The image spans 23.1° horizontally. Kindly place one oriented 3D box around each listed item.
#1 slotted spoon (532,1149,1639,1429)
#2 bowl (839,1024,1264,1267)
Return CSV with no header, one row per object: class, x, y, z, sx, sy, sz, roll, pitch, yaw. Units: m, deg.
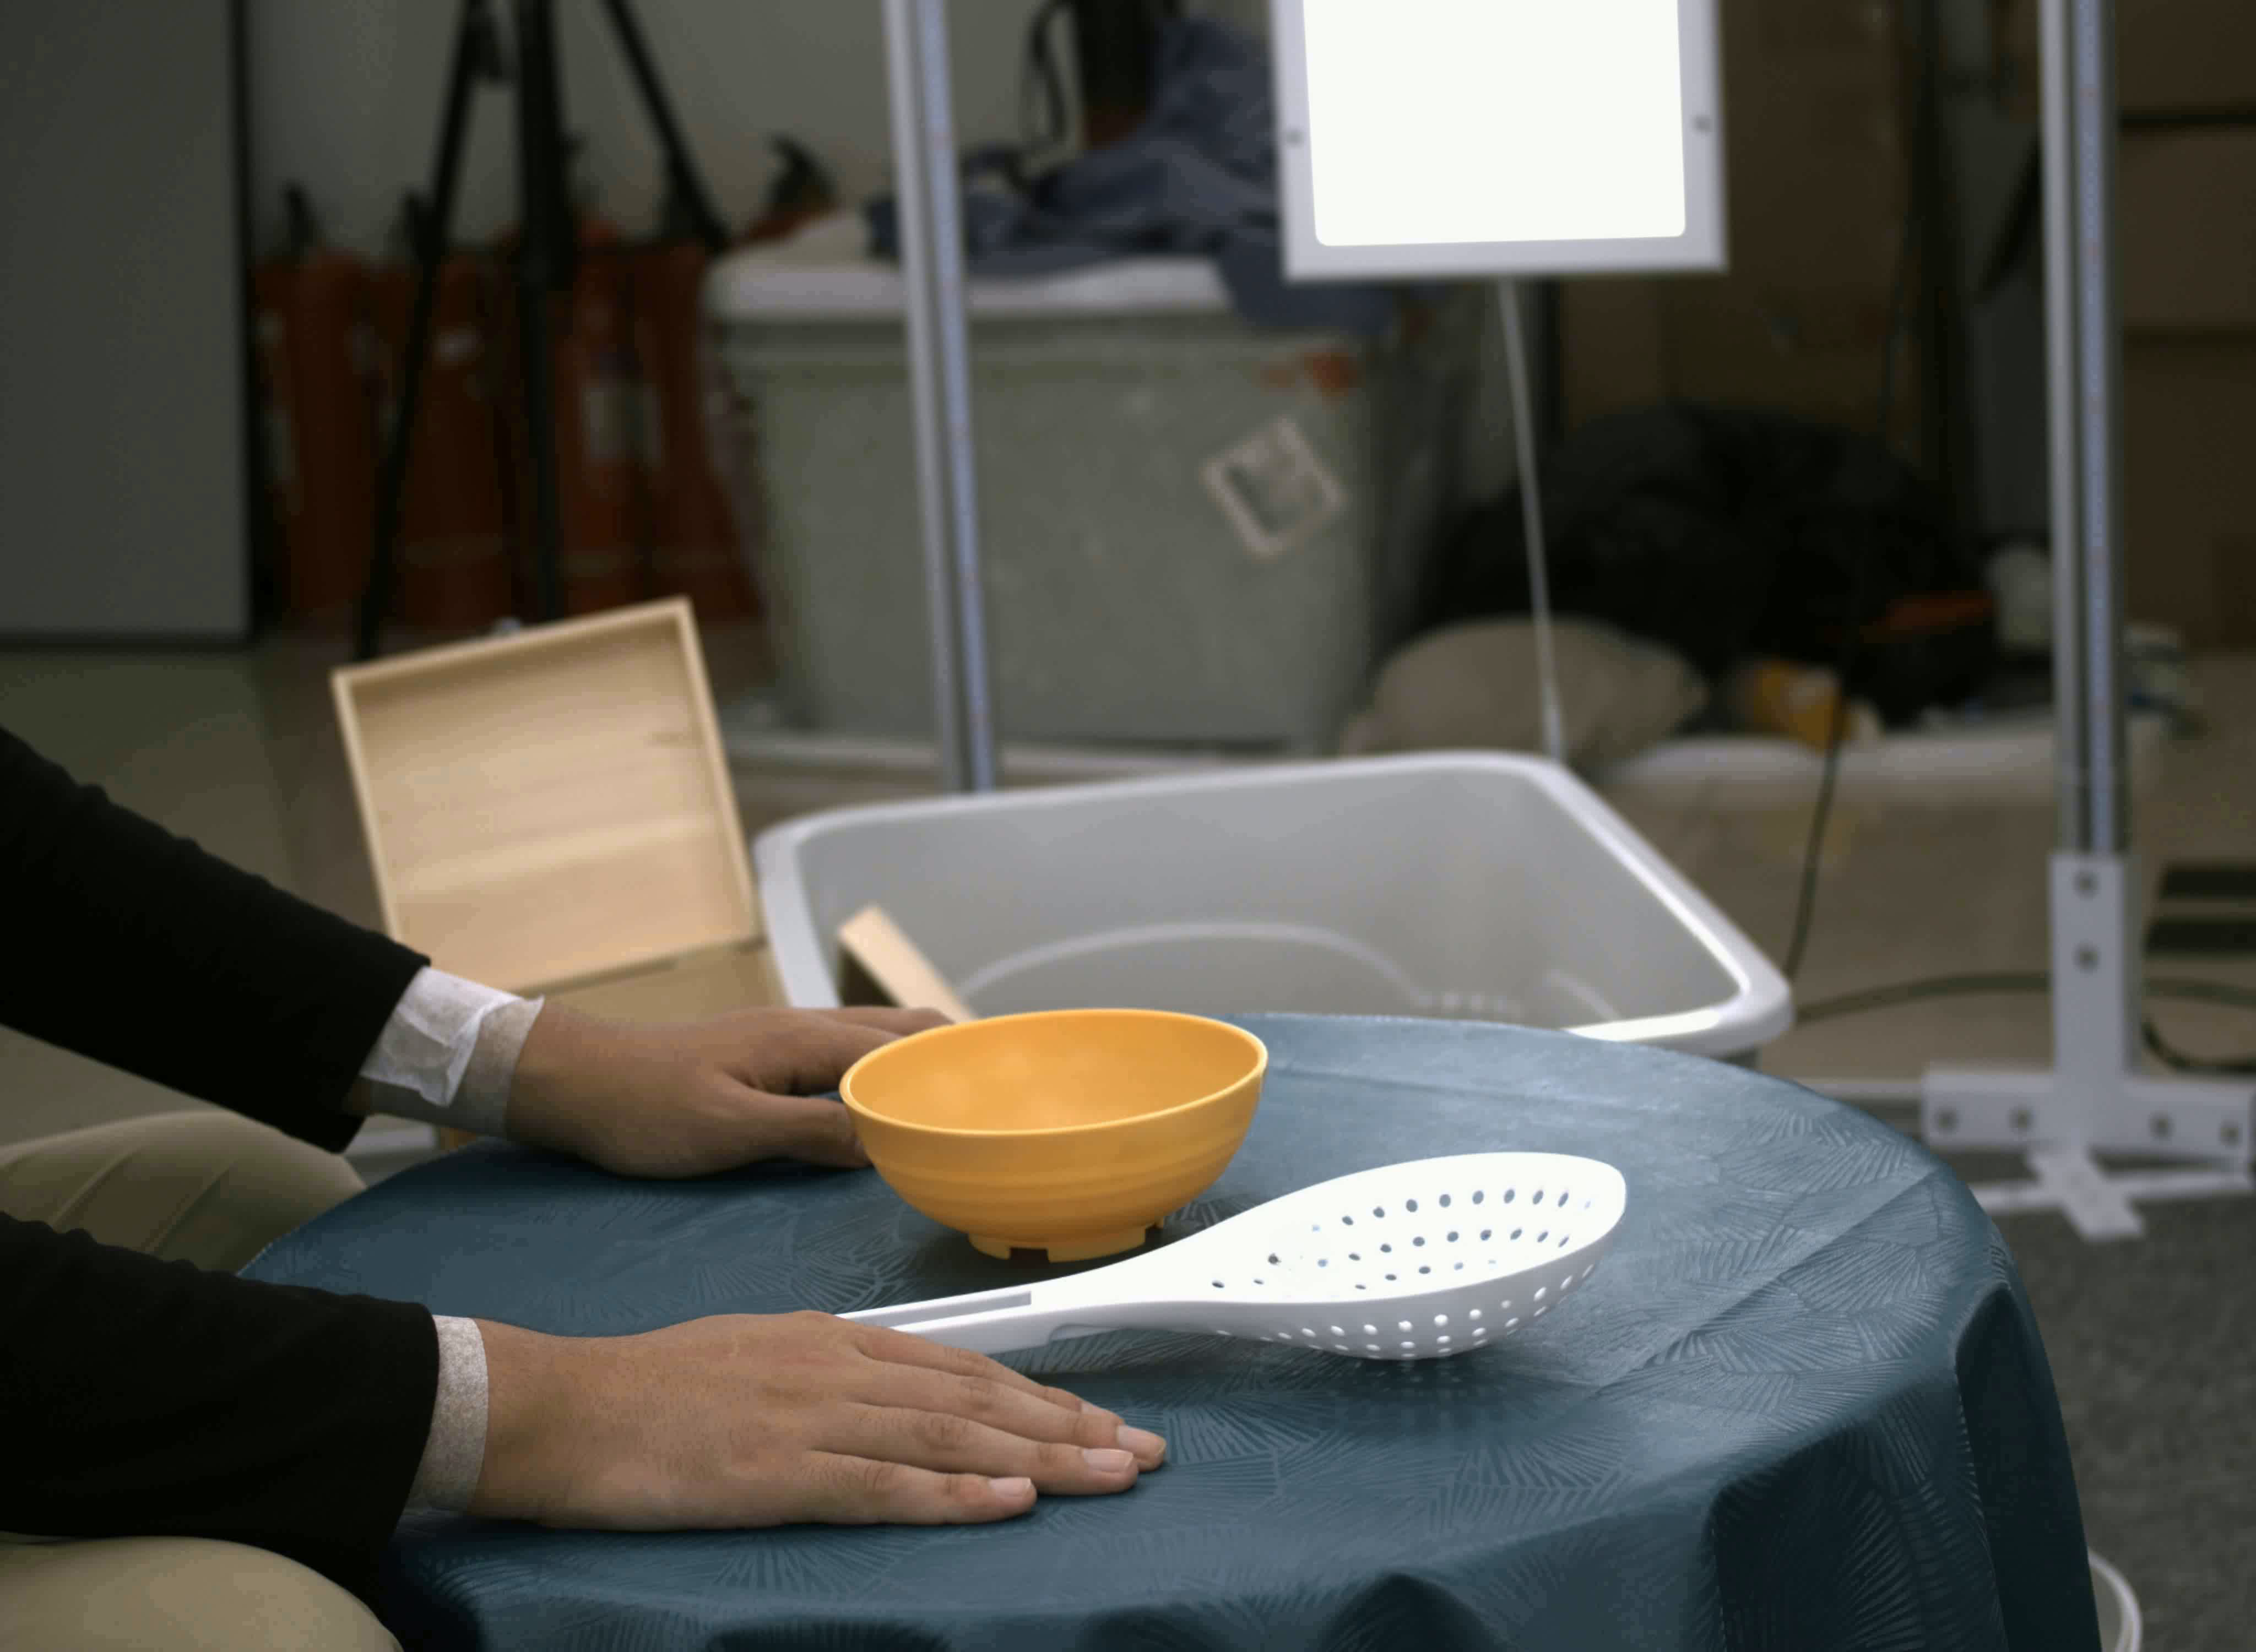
slotted spoon,-0.013,0.149,1.716,0.349,0.046,0.135,-6,13,2
bowl,-0.024,0.111,1.853,0.145,0.060,0.145,-4,12,0
